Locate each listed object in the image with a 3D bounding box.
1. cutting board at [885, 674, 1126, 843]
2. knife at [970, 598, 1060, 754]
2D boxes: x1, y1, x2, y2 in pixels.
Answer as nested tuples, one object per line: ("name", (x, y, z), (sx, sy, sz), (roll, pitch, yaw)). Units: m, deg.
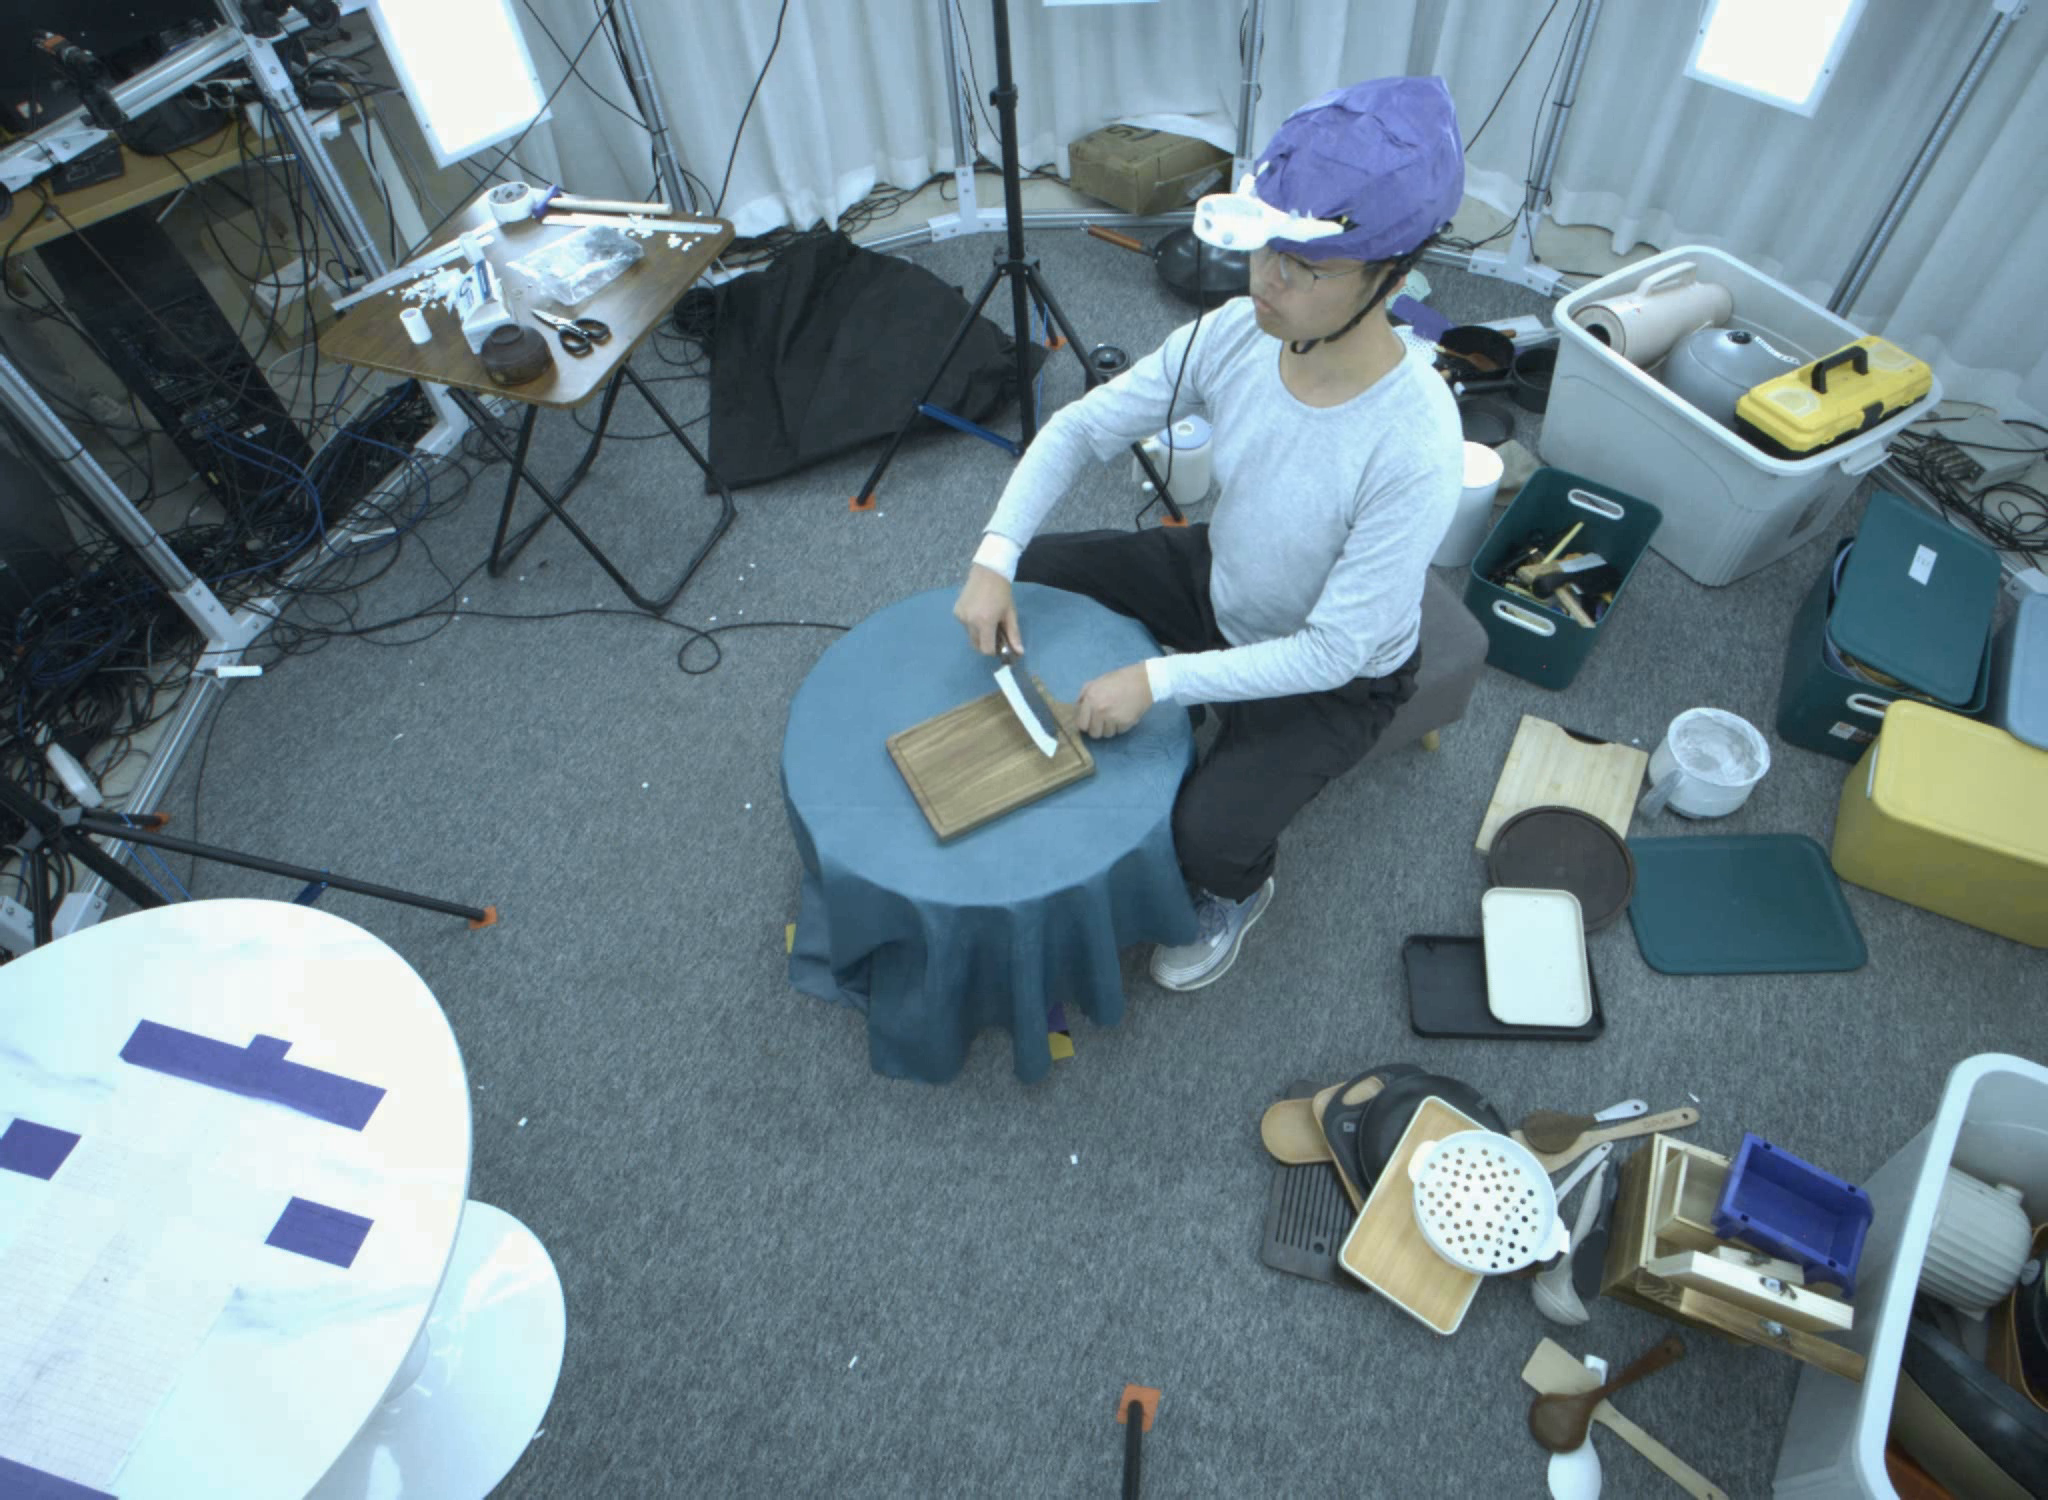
("cutting board", (-0.006, -0.013, 1.789), (0.355, 0.023, 0.197), (-25, 58, -14))
("knife", (-0.015, -0.110, 1.785), (0.050, 0.020, 0.284), (-32, 64, 11))
